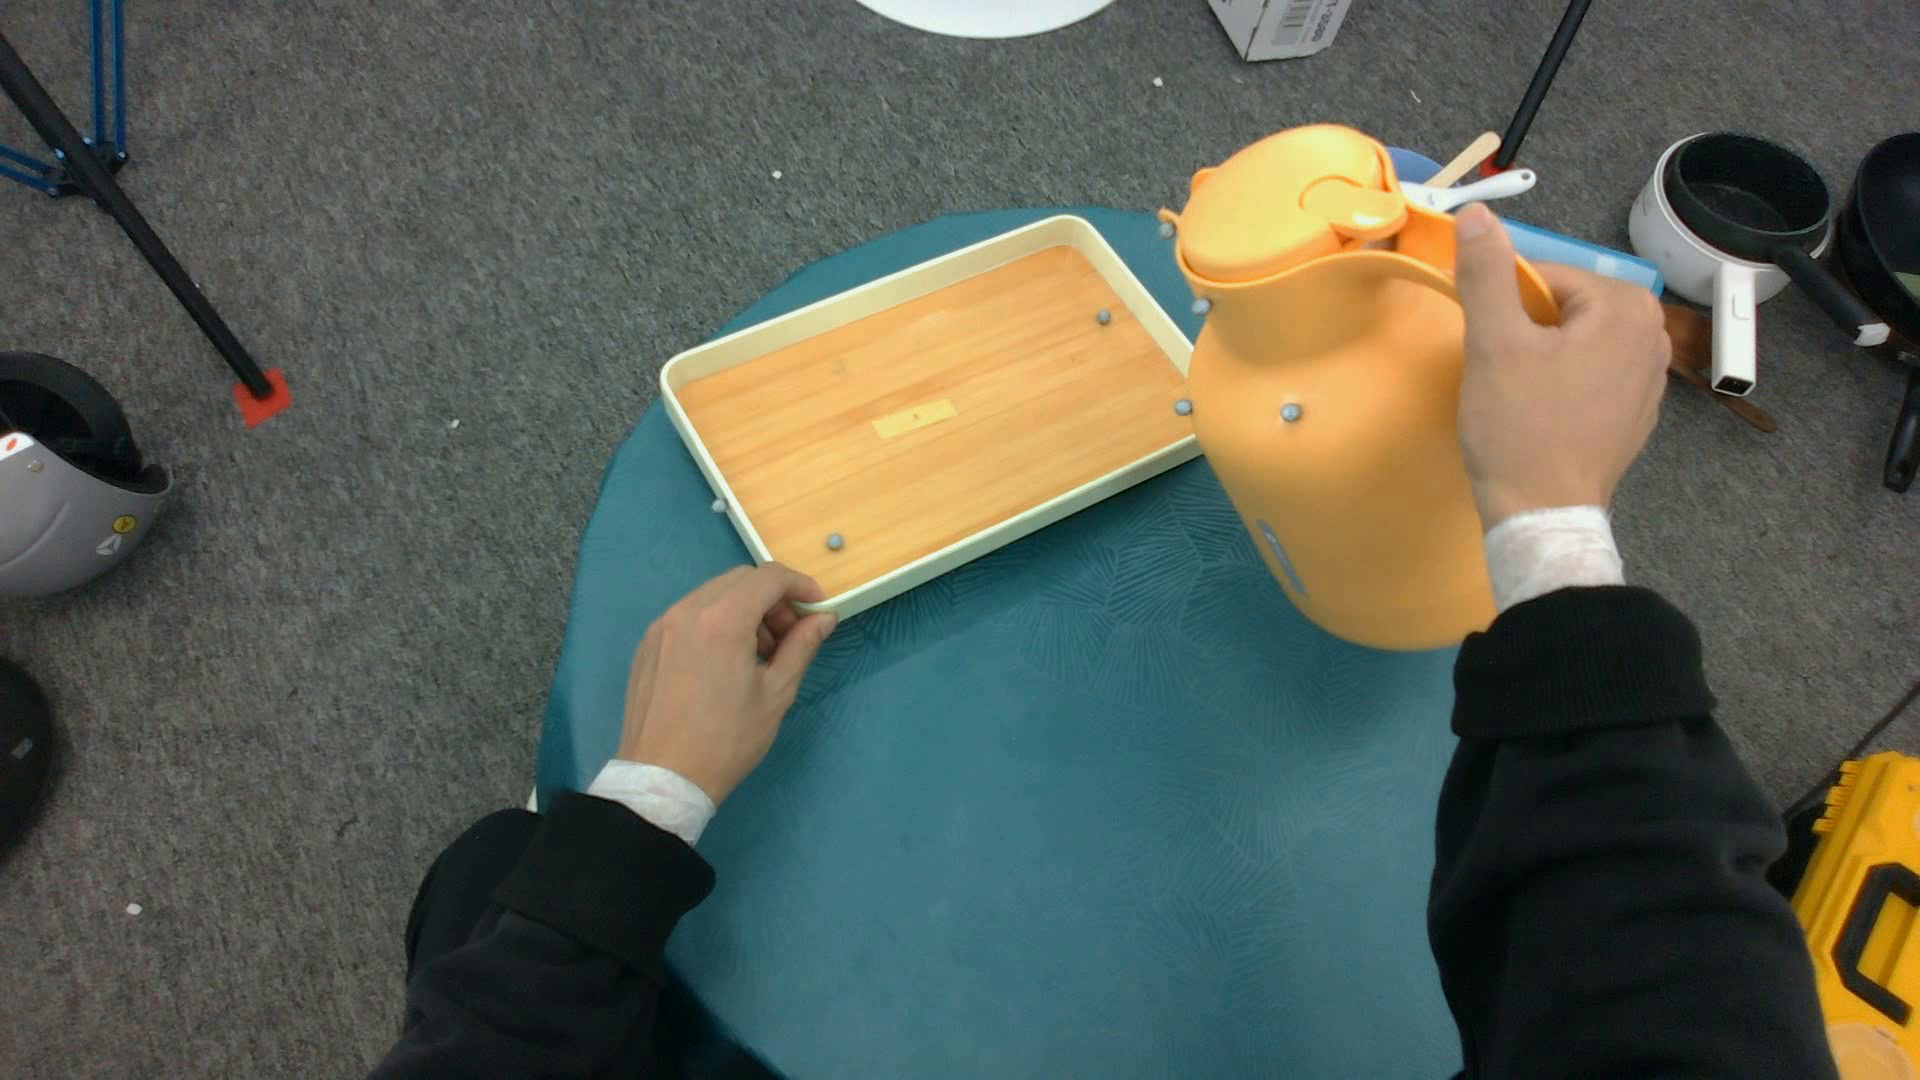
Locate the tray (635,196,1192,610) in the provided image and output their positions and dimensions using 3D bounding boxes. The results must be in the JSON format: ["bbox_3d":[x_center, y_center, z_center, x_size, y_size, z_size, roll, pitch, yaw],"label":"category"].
[{"bbox_3d":[-0.018,-0.092,0.811,0.301,0.027,0.192,-25,64,-21],"label":"tray"}]

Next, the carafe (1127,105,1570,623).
[{"bbox_3d":[0.193,-0.078,0.655,0.163,0.260,0.202,-48,37,-7],"label":"carafe"}]
